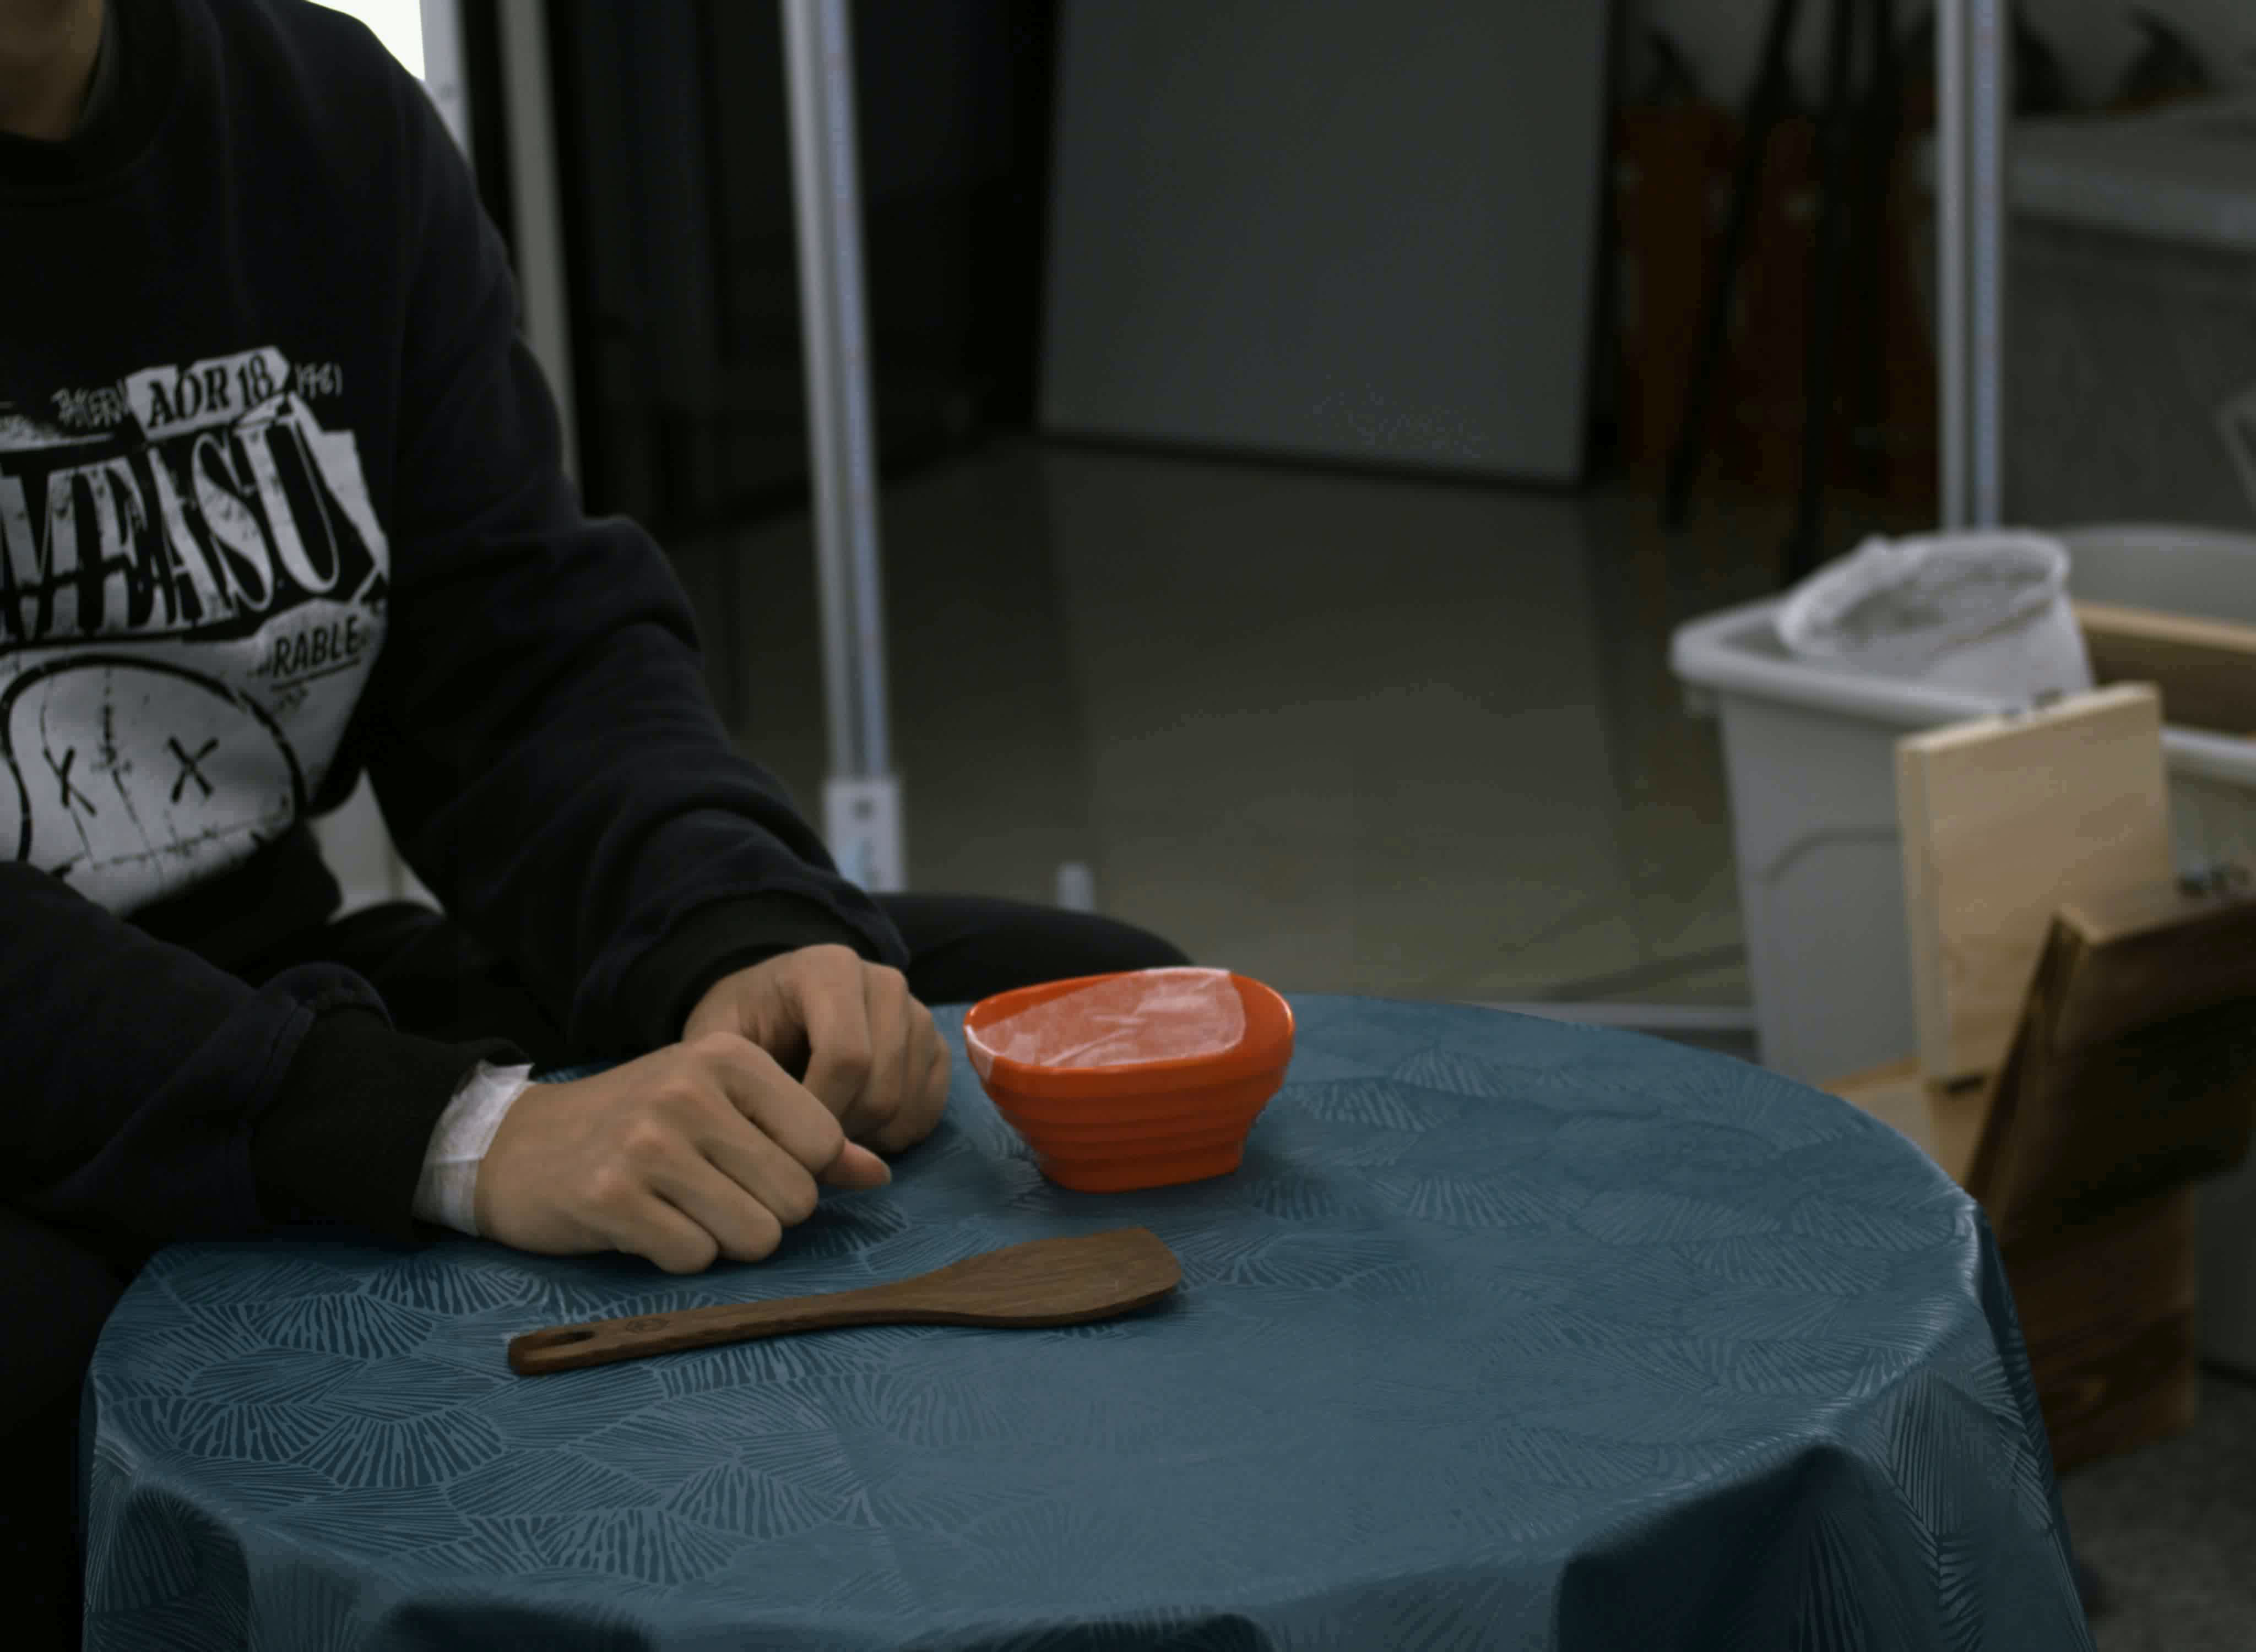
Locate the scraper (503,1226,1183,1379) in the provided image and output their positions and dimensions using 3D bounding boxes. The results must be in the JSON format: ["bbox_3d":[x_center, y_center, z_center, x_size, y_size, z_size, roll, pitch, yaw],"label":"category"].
[{"bbox_3d":[-0.088,0.150,1.663,0.207,0.011,0.076,-7,13,-10],"label":"scraper"}]

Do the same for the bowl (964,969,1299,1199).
[{"bbox_3d":[0.002,0.089,1.799,0.117,0.052,0.119,-3,15,0],"label":"bowl"}]
